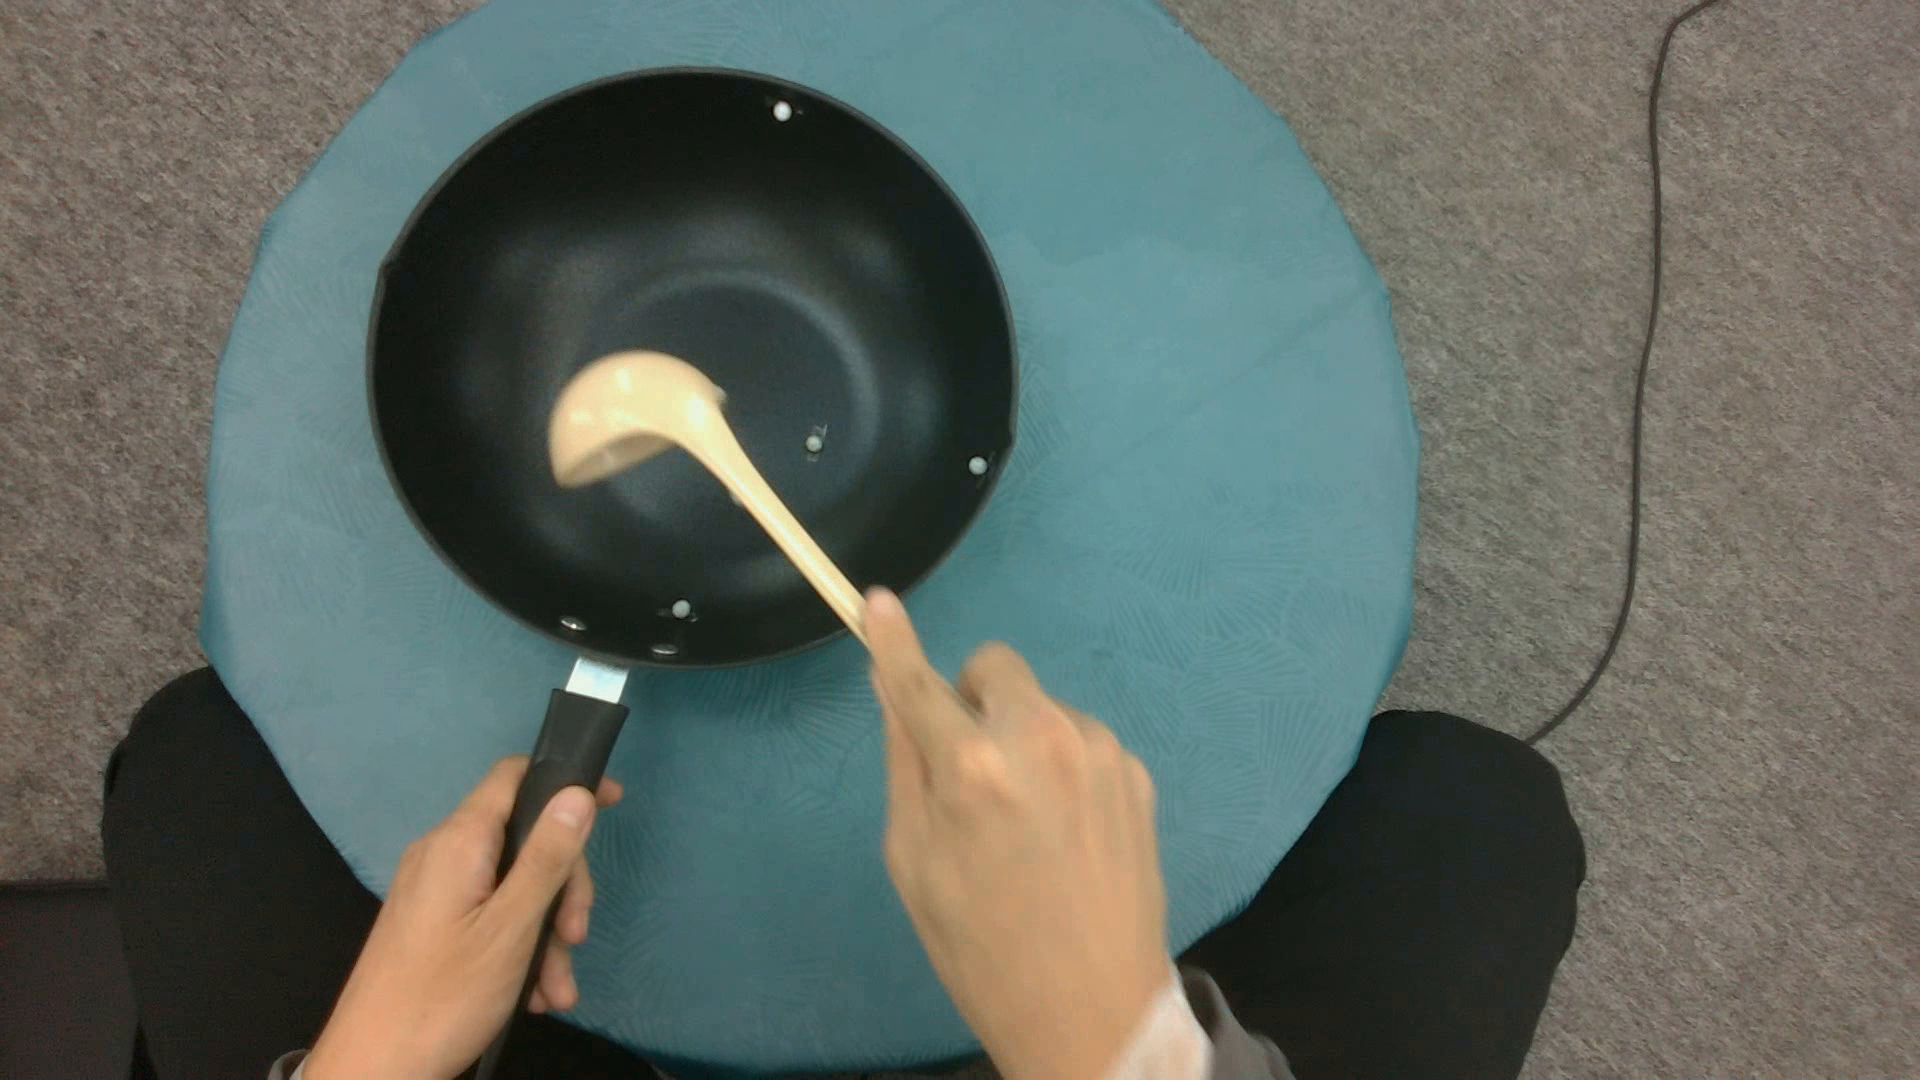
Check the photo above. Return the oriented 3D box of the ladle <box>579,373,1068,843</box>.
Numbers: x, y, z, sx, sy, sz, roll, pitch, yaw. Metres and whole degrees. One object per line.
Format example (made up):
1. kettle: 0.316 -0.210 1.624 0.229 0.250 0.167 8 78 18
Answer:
1. ladle: -0.058 0.034 0.530 0.072 0.072 0.254 -24 64 -40

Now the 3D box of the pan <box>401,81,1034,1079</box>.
1. pan: -0.135 0.015 0.640 0.288 0.086 0.464 16 78 -1
